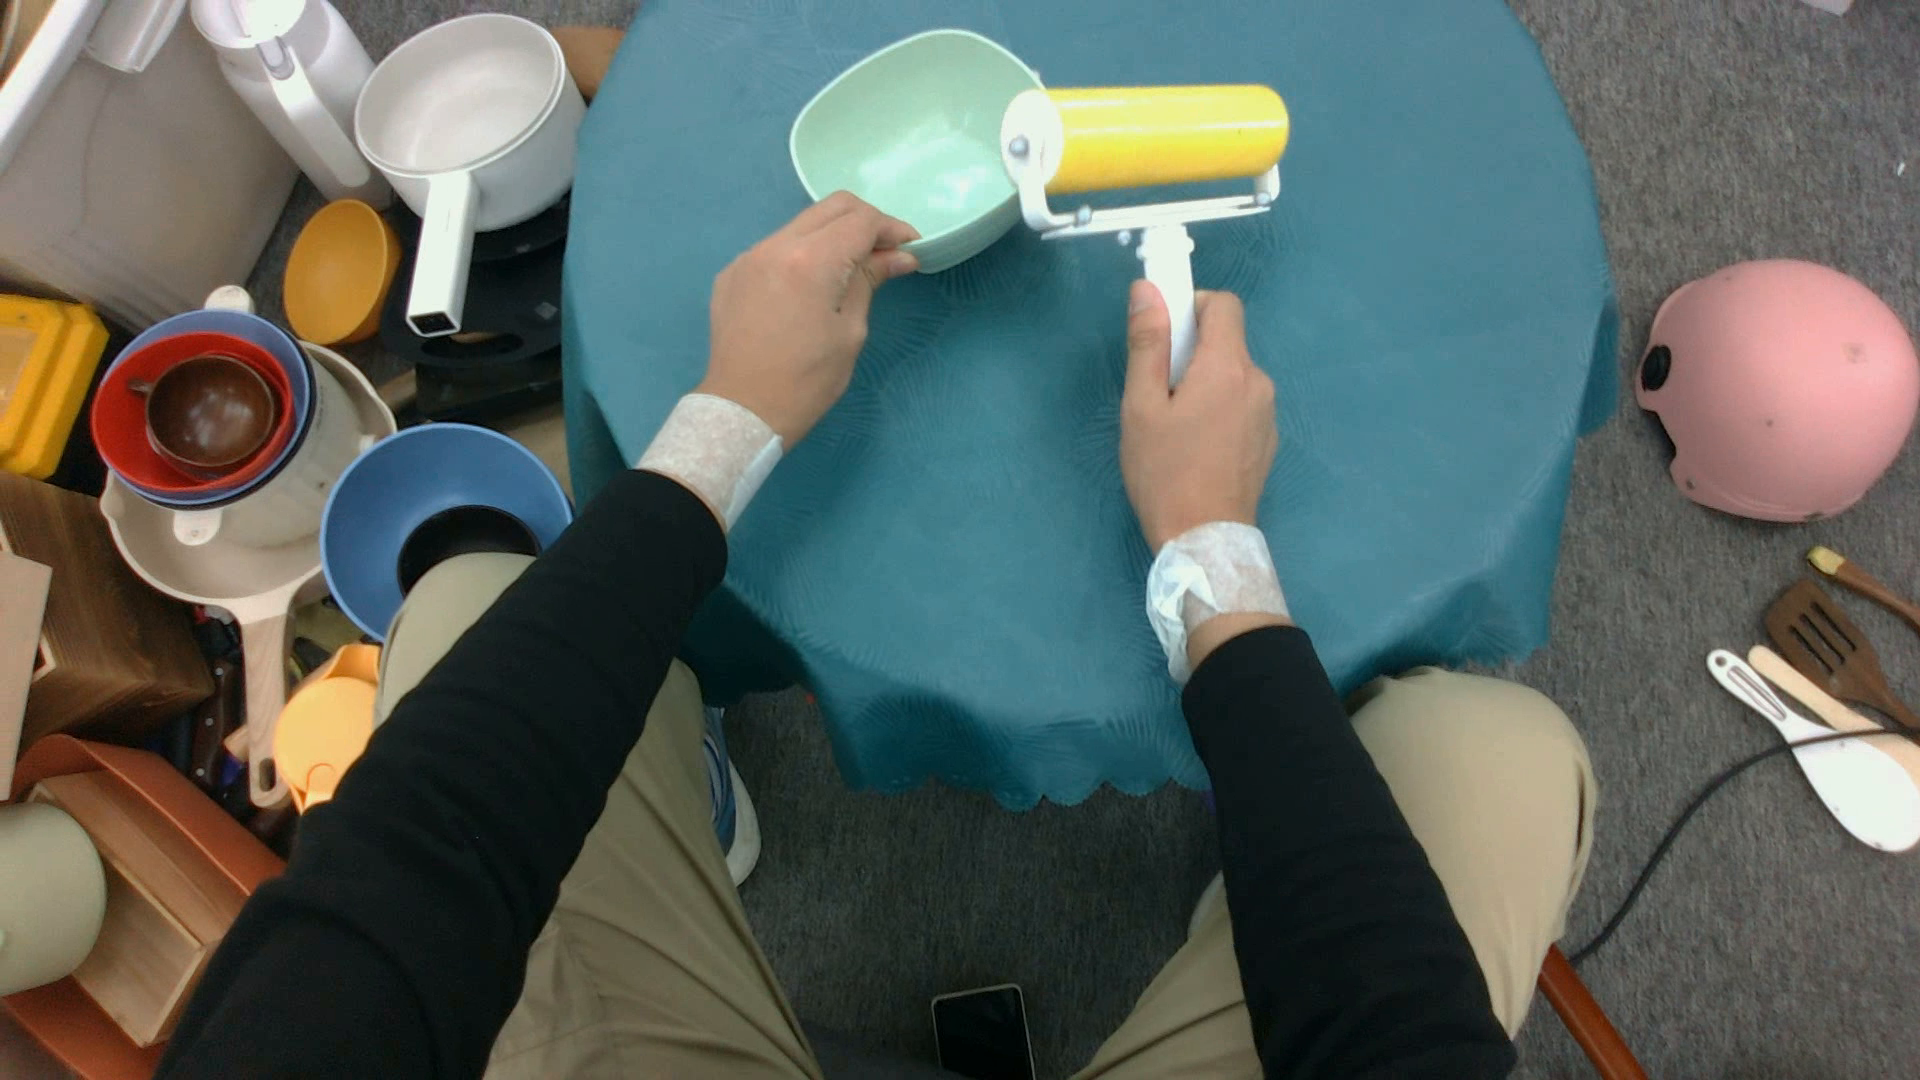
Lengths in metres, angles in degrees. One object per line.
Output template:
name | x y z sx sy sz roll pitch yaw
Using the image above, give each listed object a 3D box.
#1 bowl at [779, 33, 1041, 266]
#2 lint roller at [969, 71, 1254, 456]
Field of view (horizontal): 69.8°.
bowl | -0.022 -0.209 0.768 0.151 0.058 0.152 -5 60 9
lint roller | 0.104 -0.138 0.700 0.175 0.051 0.192 -21 91 -36
